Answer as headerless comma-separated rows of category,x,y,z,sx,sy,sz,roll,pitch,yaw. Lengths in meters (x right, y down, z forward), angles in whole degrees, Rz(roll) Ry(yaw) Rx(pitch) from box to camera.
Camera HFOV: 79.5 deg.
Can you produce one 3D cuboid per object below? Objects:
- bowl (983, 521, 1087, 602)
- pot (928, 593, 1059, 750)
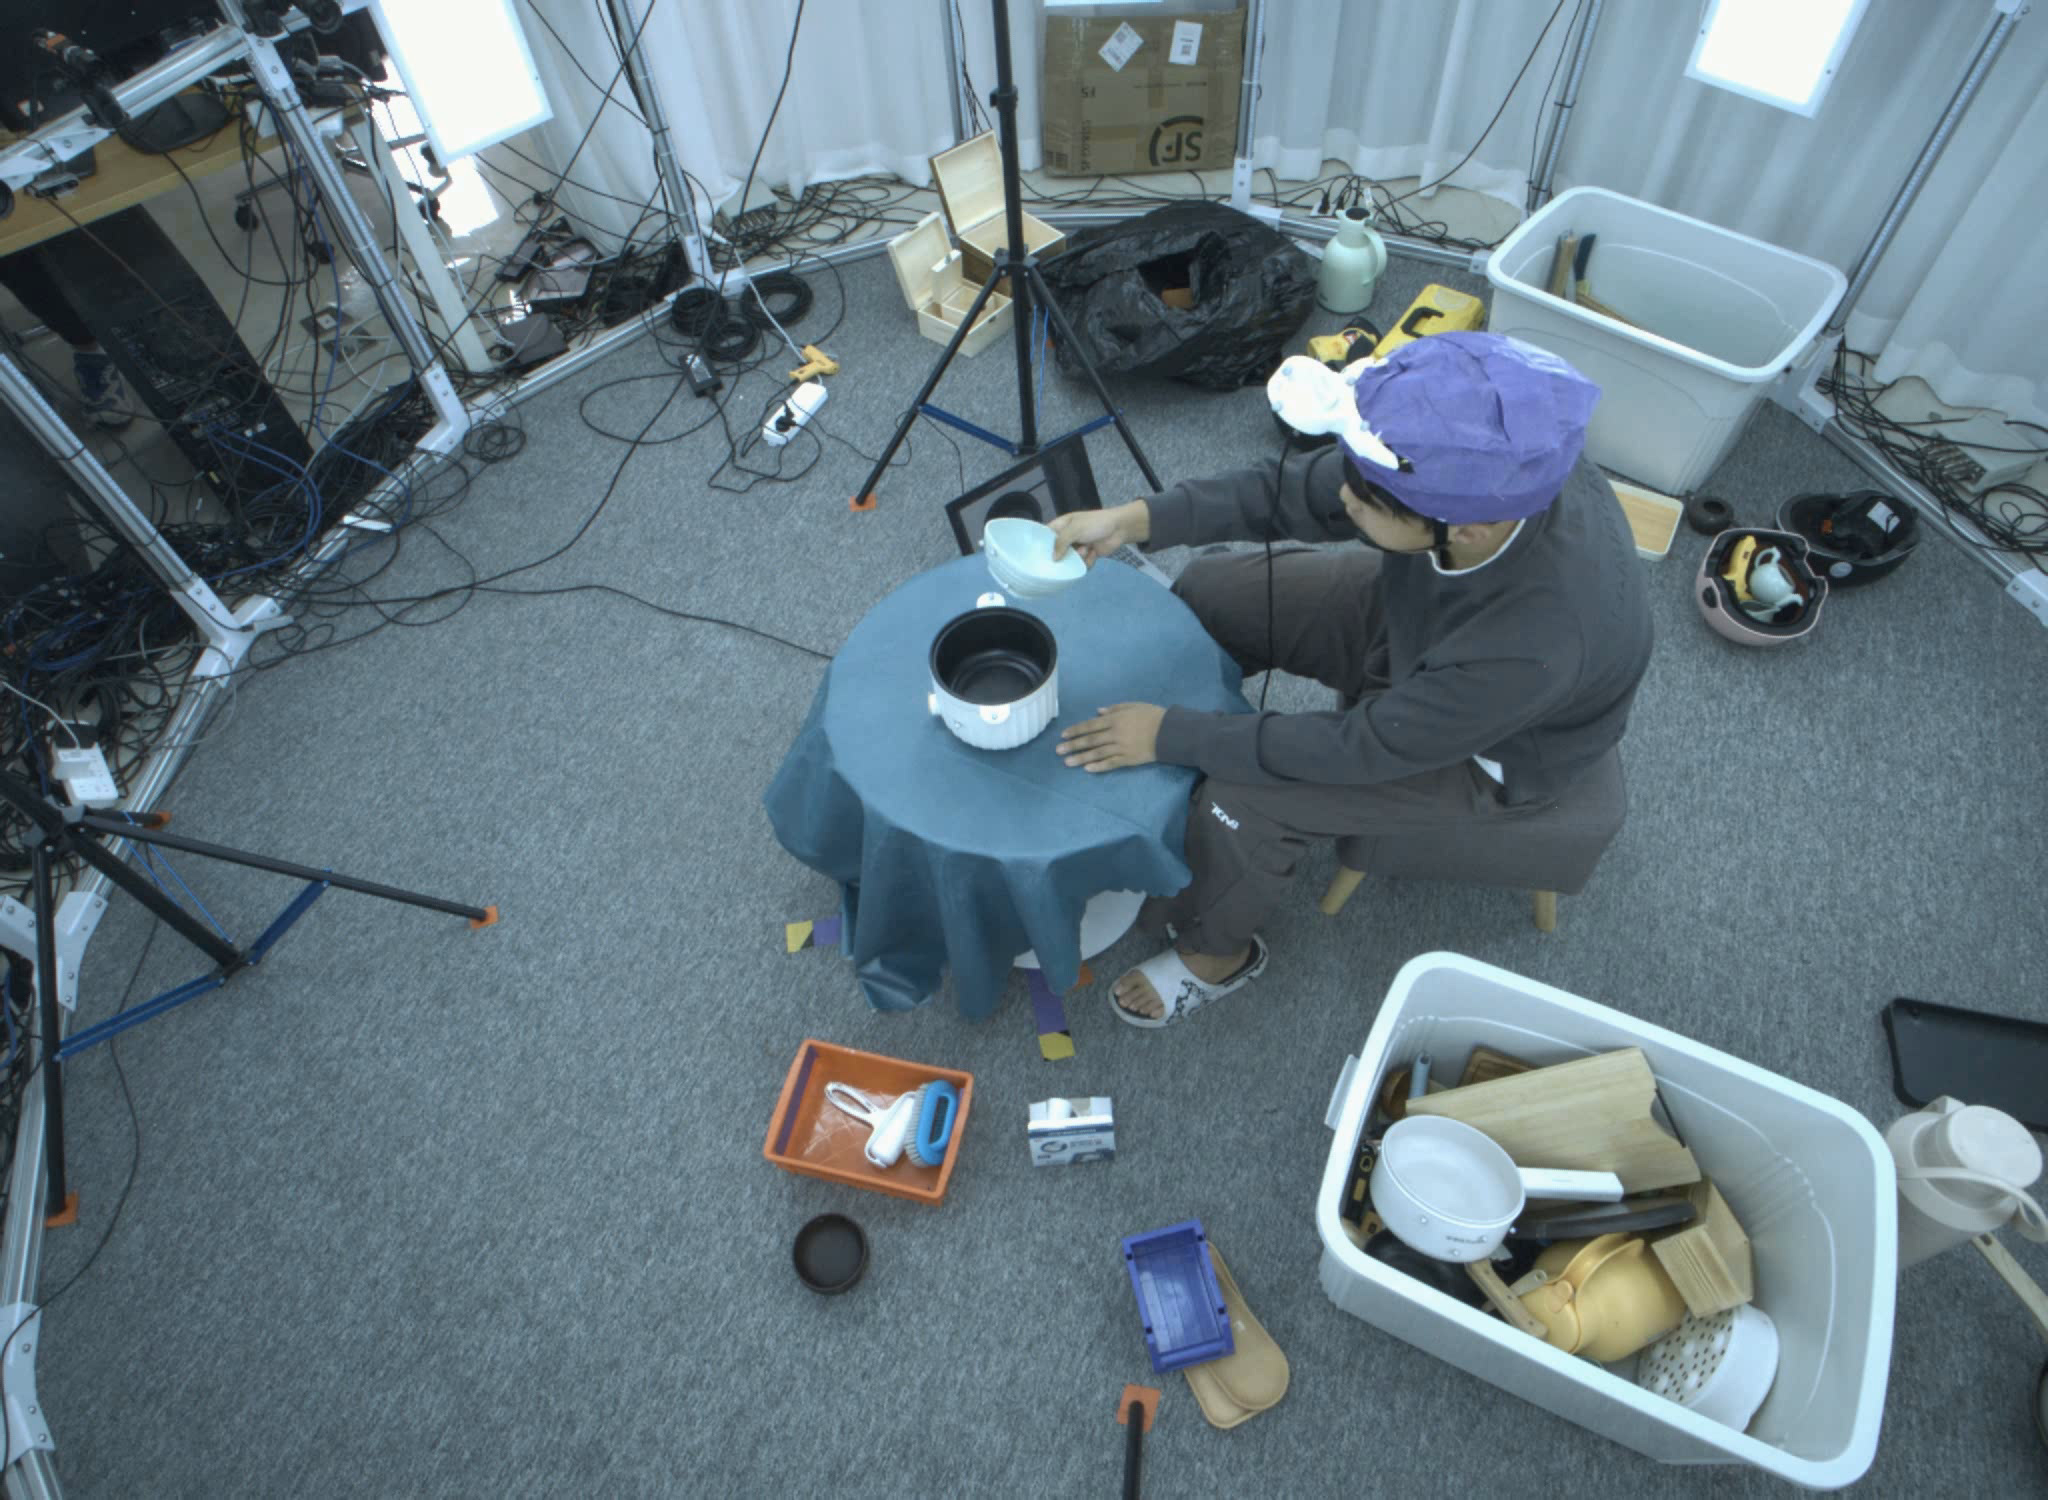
bowl,0.005,-0.251,1.681,0.153,0.058,0.150,20,36,-14
pot,-0.045,-0.095,1.769,0.191,0.144,0.237,-3,53,-4
